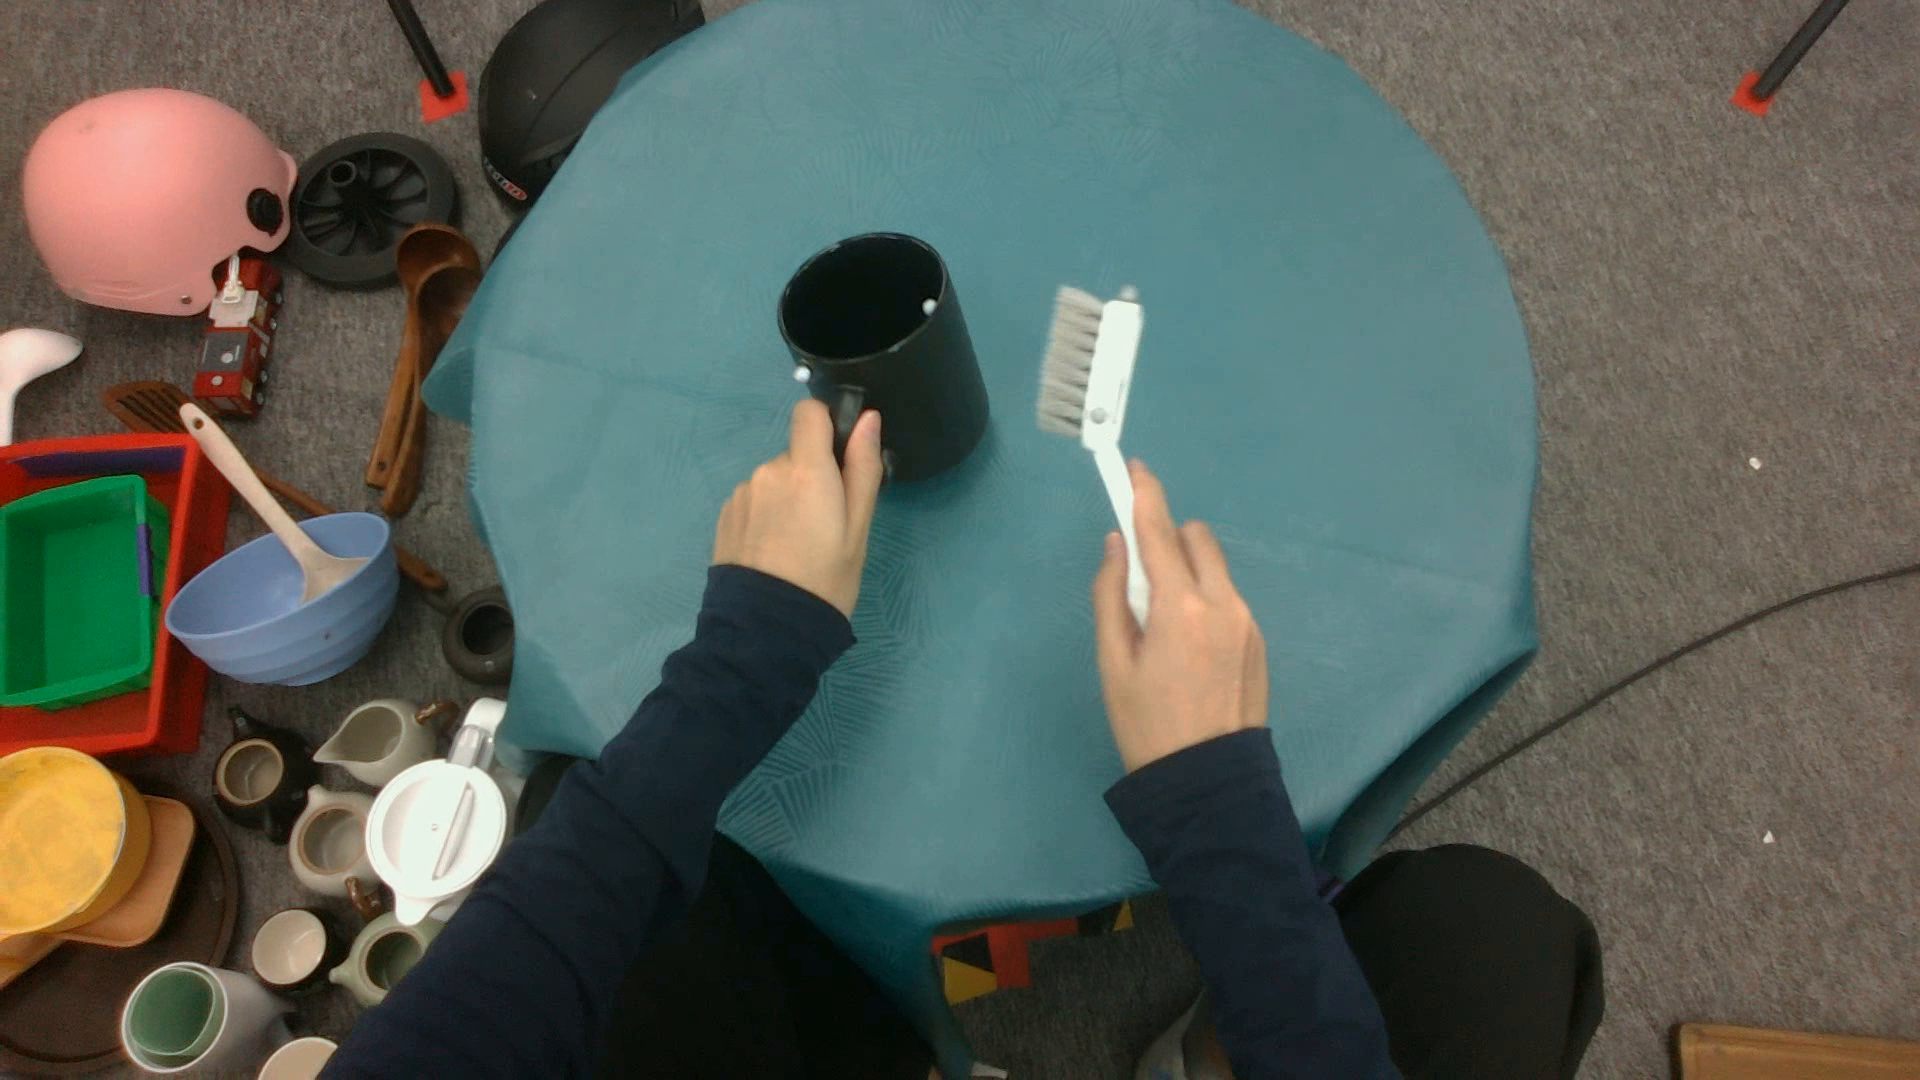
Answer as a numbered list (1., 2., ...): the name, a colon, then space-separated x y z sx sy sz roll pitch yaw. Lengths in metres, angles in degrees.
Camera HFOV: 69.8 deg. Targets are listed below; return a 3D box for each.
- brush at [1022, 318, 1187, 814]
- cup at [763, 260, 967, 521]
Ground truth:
1. brush: 0.066 0.013 0.657 0.050 0.034 0.243 -10 93 12
2. cup: -0.052 -0.067 0.721 0.088 0.105 0.124 6 58 16
